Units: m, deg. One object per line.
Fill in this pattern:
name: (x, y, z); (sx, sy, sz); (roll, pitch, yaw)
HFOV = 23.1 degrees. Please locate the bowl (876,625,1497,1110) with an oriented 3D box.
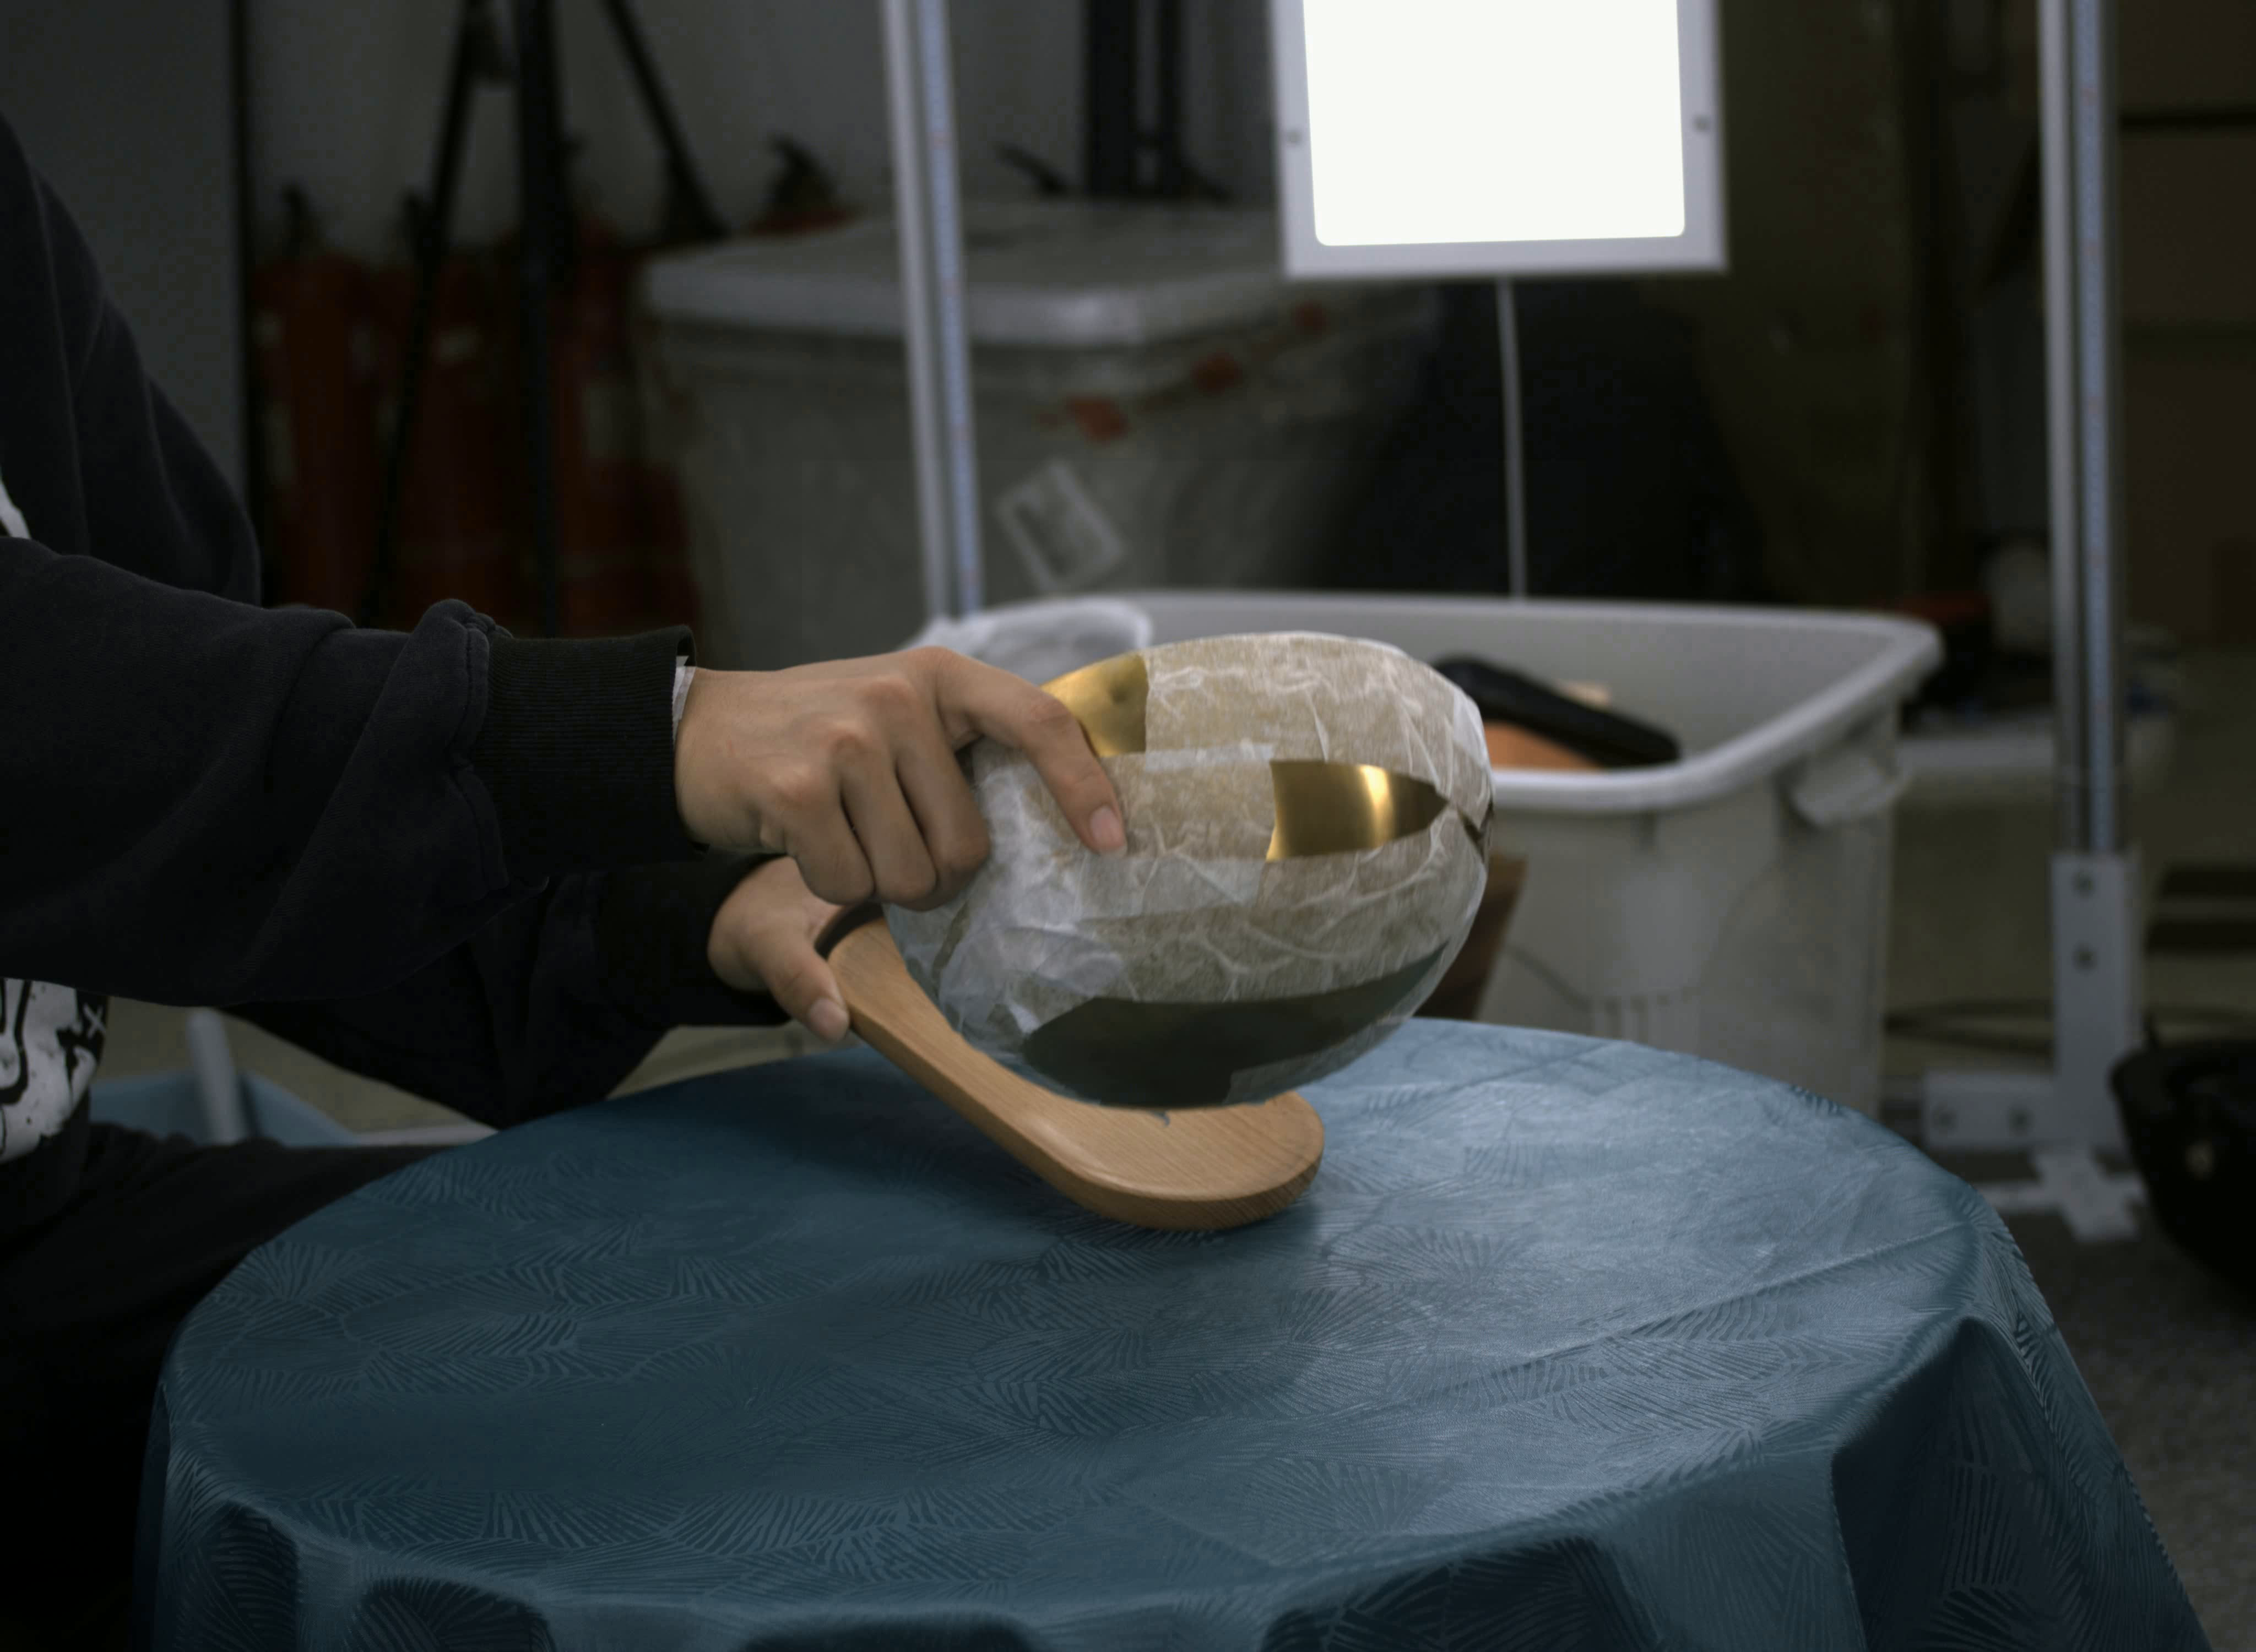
bowl: (0.025, 0.032, 1.740); (0.213, 0.095, 0.216); (-9, -30, -7)

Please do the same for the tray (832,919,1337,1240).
tray: (-0.018, 0.085, 1.932); (0.099, 0.020, 0.235); (-18, 35, -31)
